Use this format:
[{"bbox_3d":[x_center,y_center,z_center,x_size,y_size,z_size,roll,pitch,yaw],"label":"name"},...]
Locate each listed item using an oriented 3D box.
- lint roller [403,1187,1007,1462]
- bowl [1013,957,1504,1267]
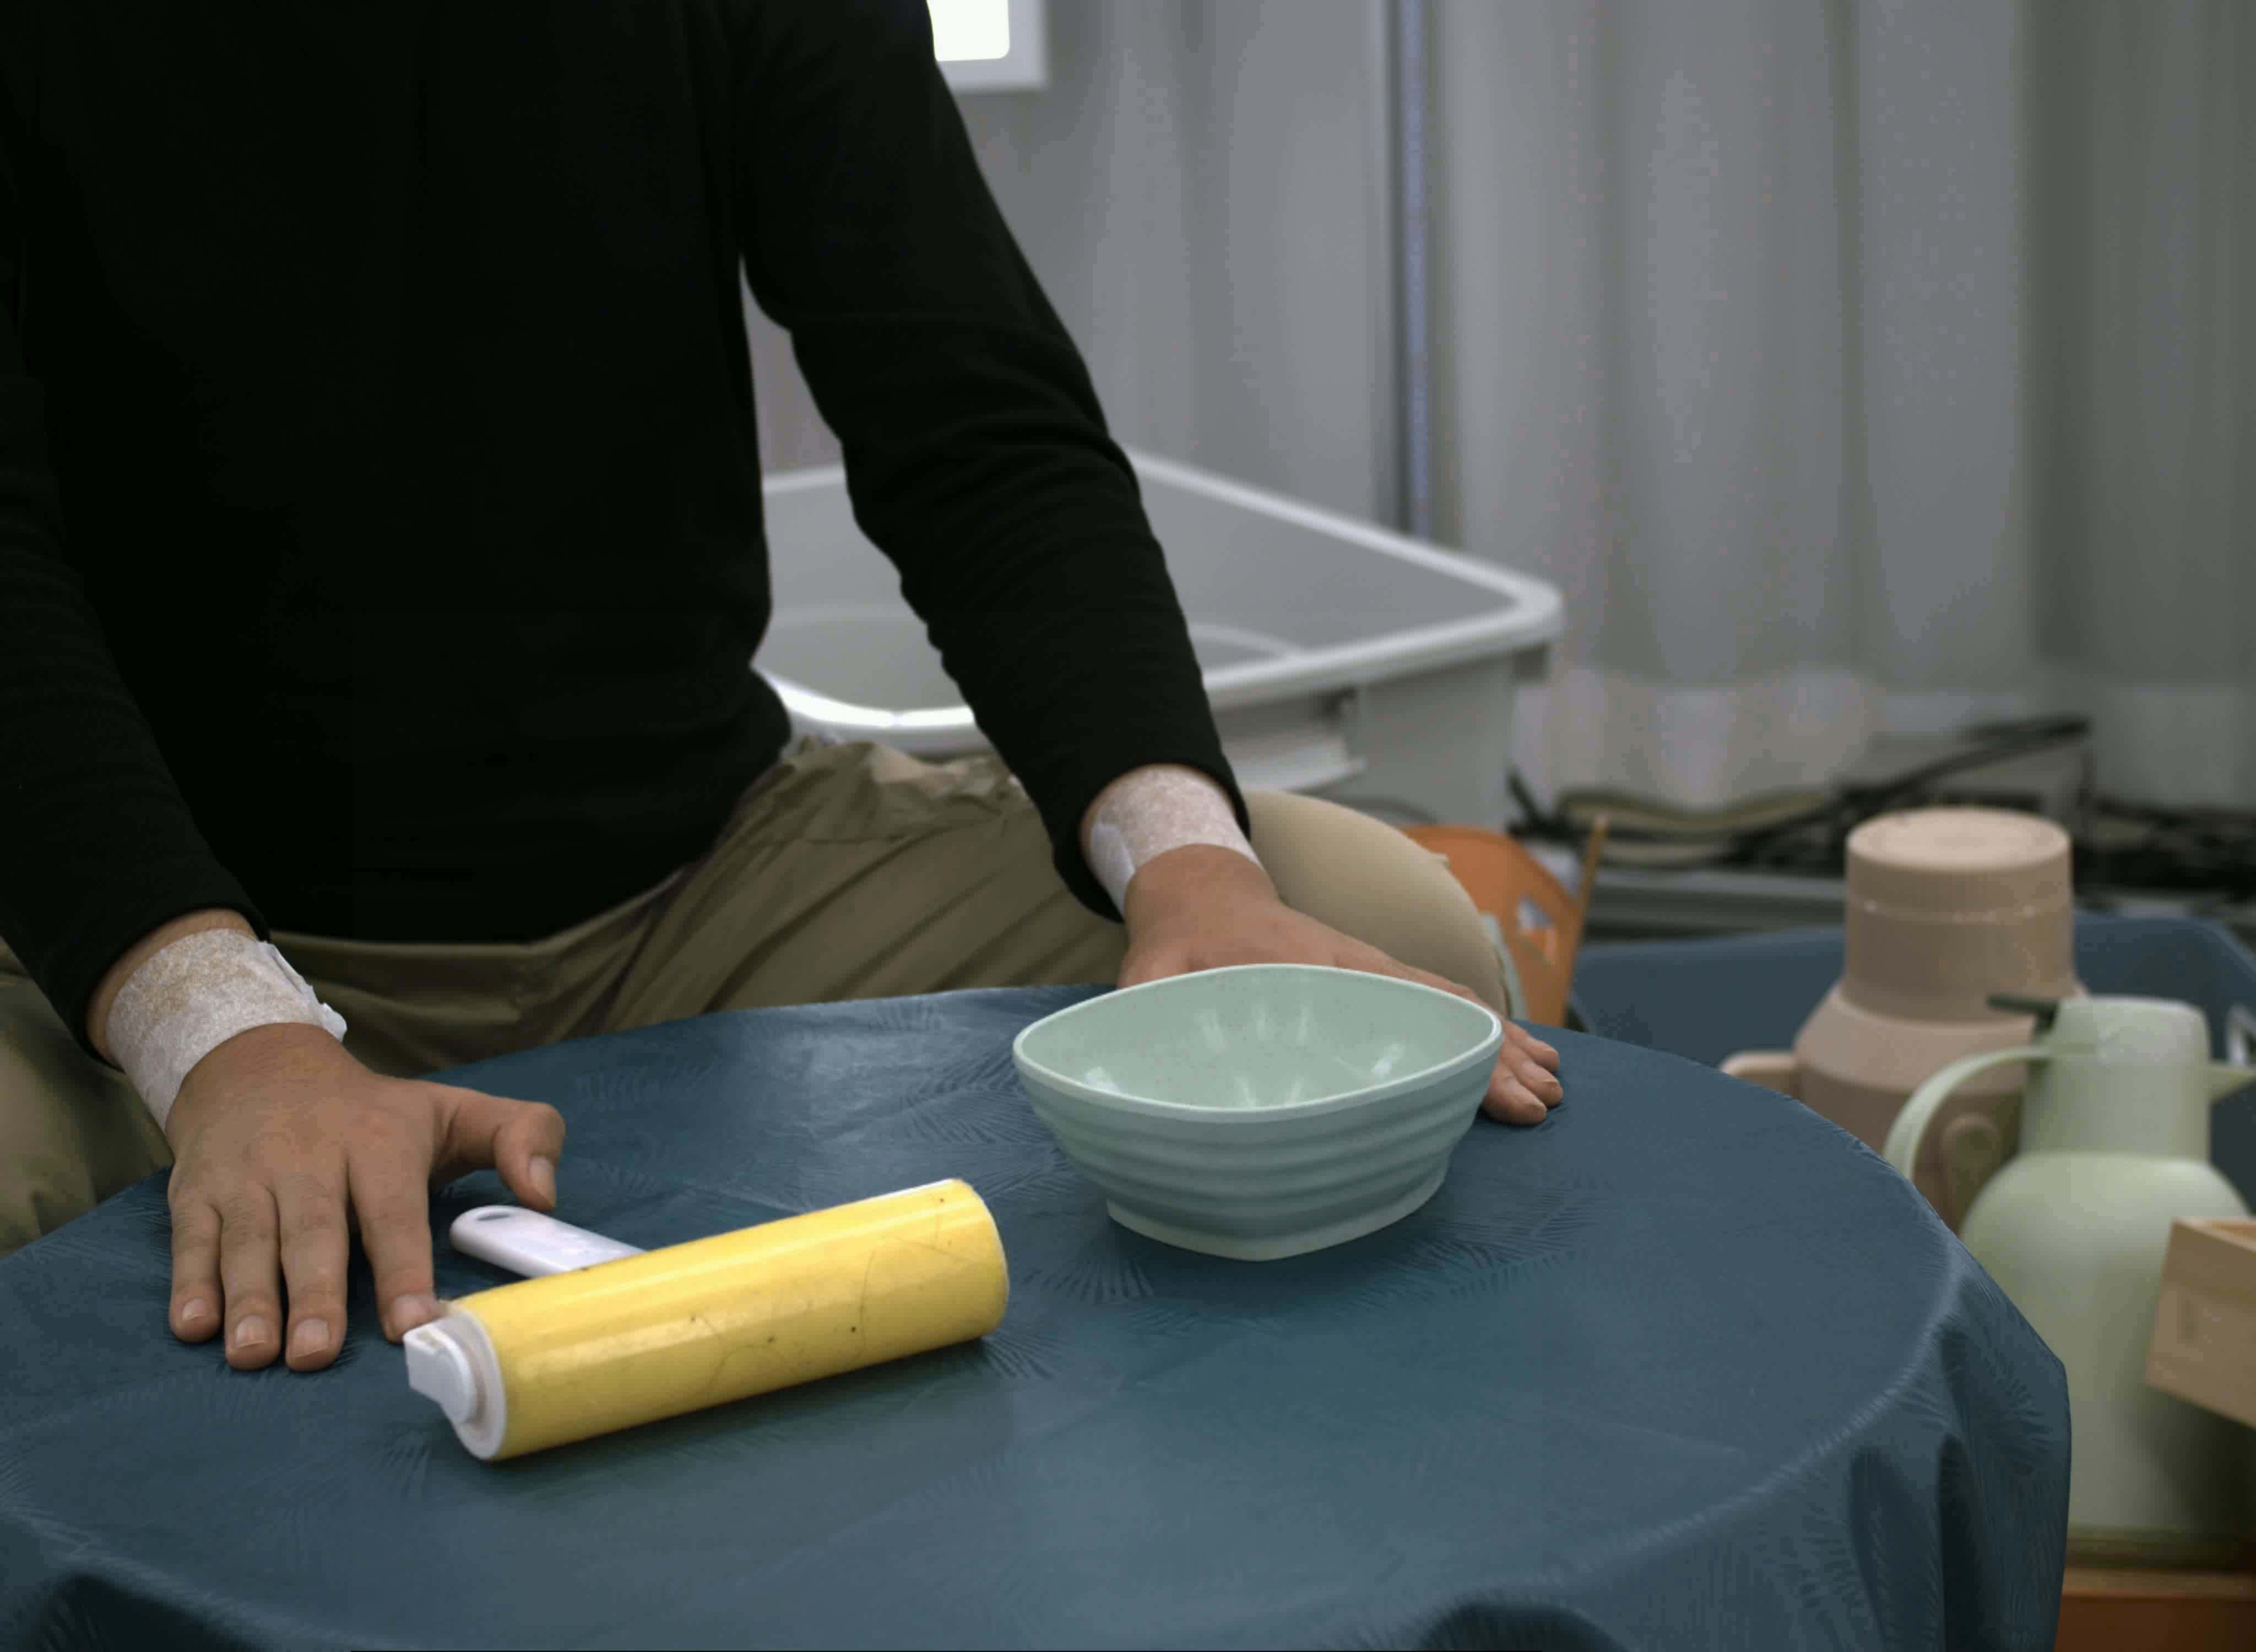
[{"bbox_3d":[-0.154,0.124,1.608,0.173,0.051,0.194,-12,21,-31],"label":"lint roller"},{"bbox_3d":[0.041,0.091,1.685,0.151,0.058,0.152,-2,16,0],"label":"bowl"}]
